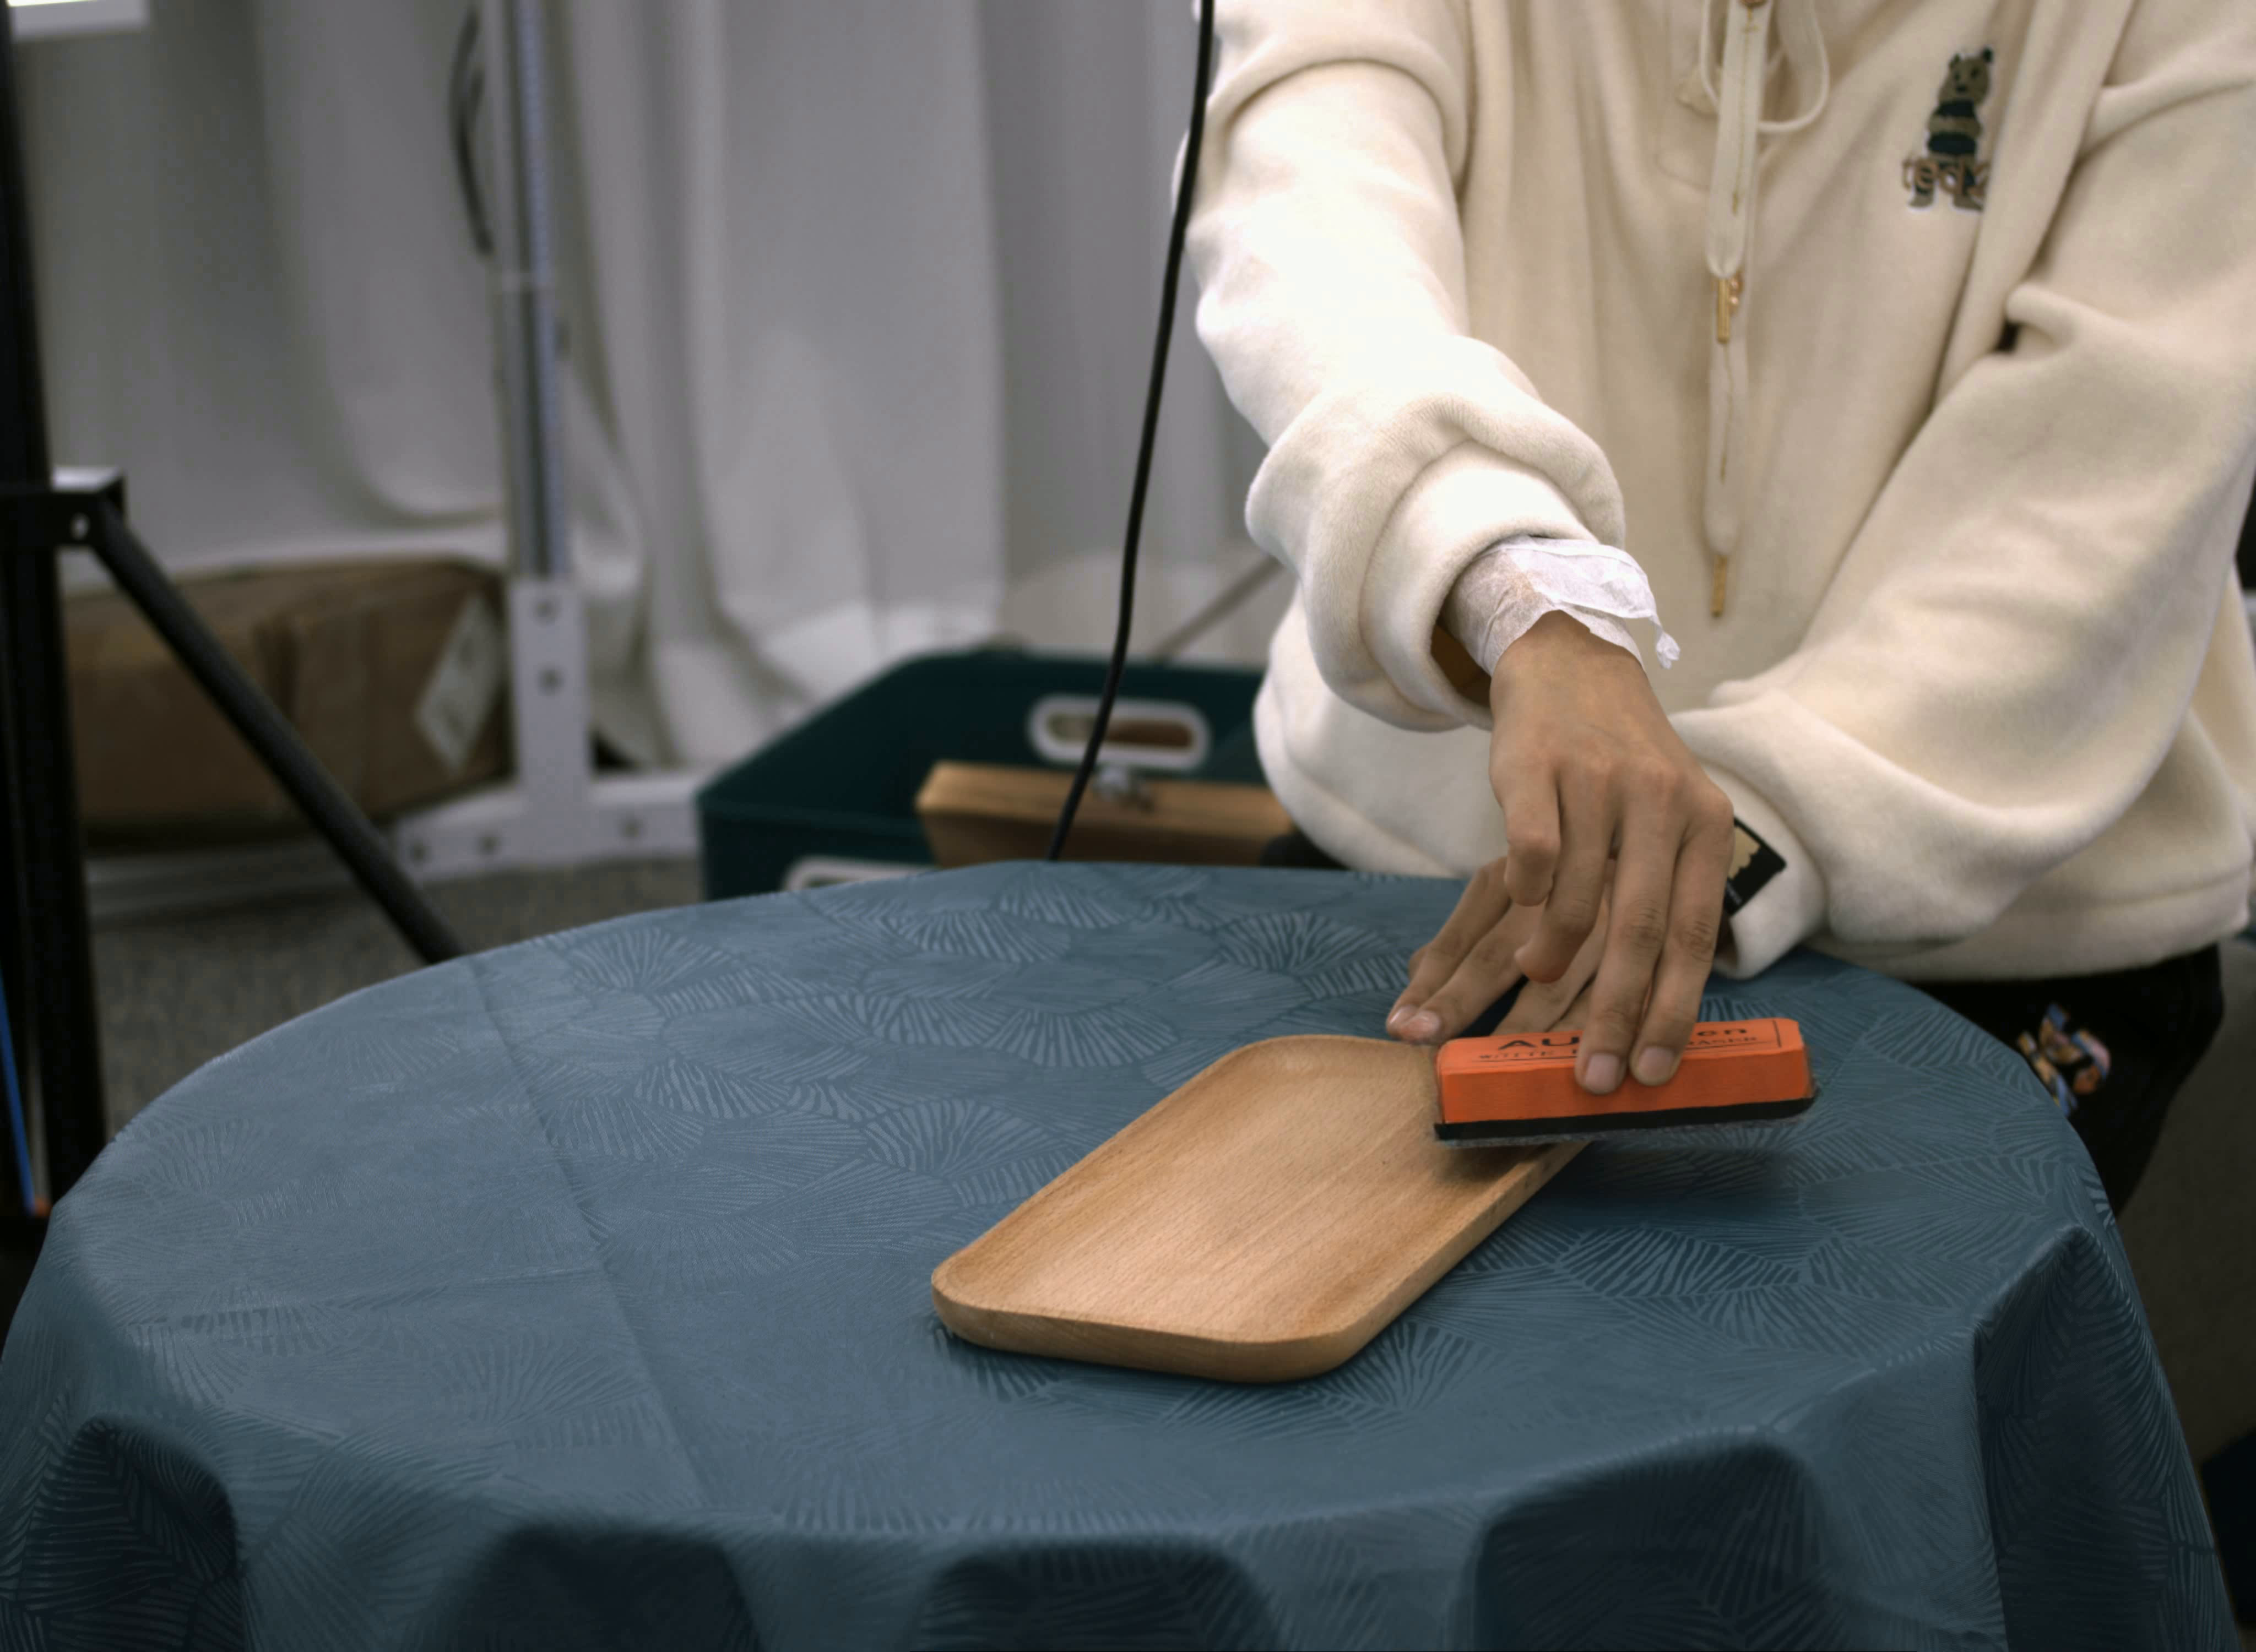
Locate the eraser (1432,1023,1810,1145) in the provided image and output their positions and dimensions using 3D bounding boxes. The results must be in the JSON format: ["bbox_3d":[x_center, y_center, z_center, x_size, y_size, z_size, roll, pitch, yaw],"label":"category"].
[{"bbox_3d":[0.143,0.075,1.540,0.108,0.023,0.059,-3,8,7],"label":"eraser"}]

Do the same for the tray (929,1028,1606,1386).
[{"bbox_3d":[0.048,0.106,1.522,0.132,0.023,0.246,8,19,26],"label":"tray"}]
